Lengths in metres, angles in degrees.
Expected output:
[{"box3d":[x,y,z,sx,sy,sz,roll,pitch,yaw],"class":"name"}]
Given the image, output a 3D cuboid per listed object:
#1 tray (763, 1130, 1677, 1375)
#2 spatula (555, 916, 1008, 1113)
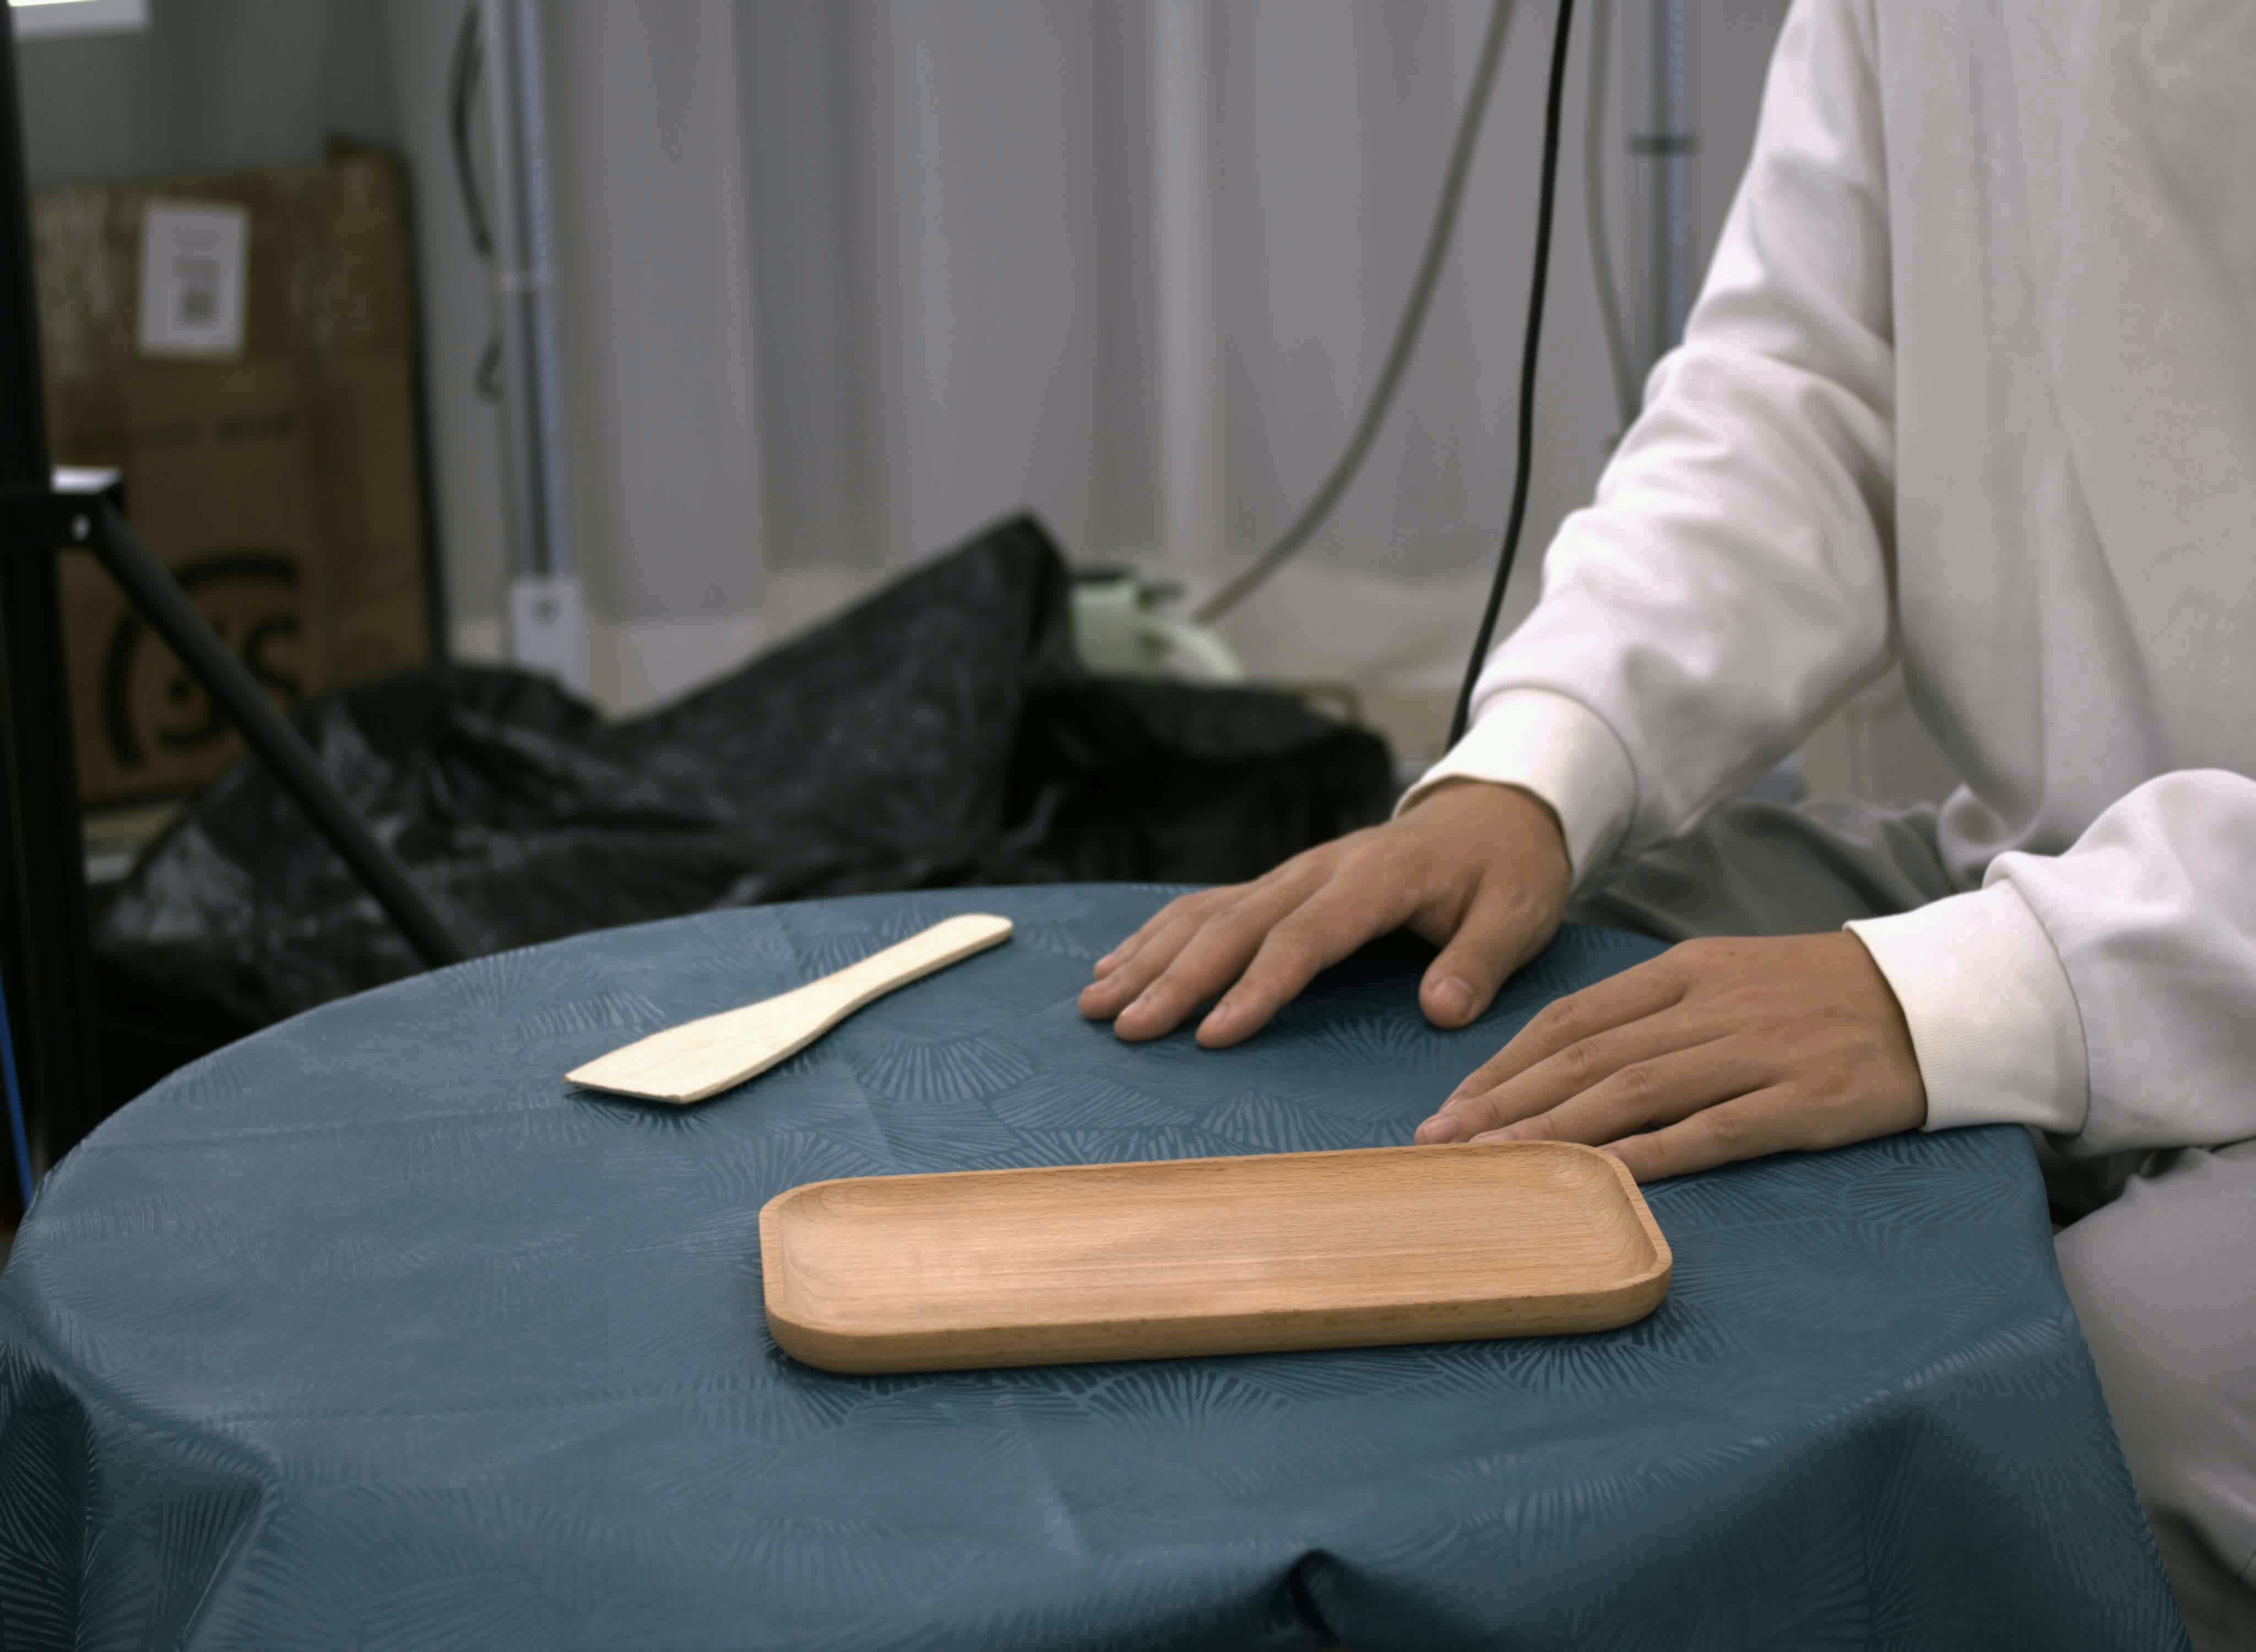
[{"box3d":[0.024,0.119,1.483,0.249,0.023,0.131,-3,18,-2],"class":"tray"},{"box3d":[-0.104,0.059,1.733,0.051,0.005,0.204,9,20,34],"class":"spatula"}]
